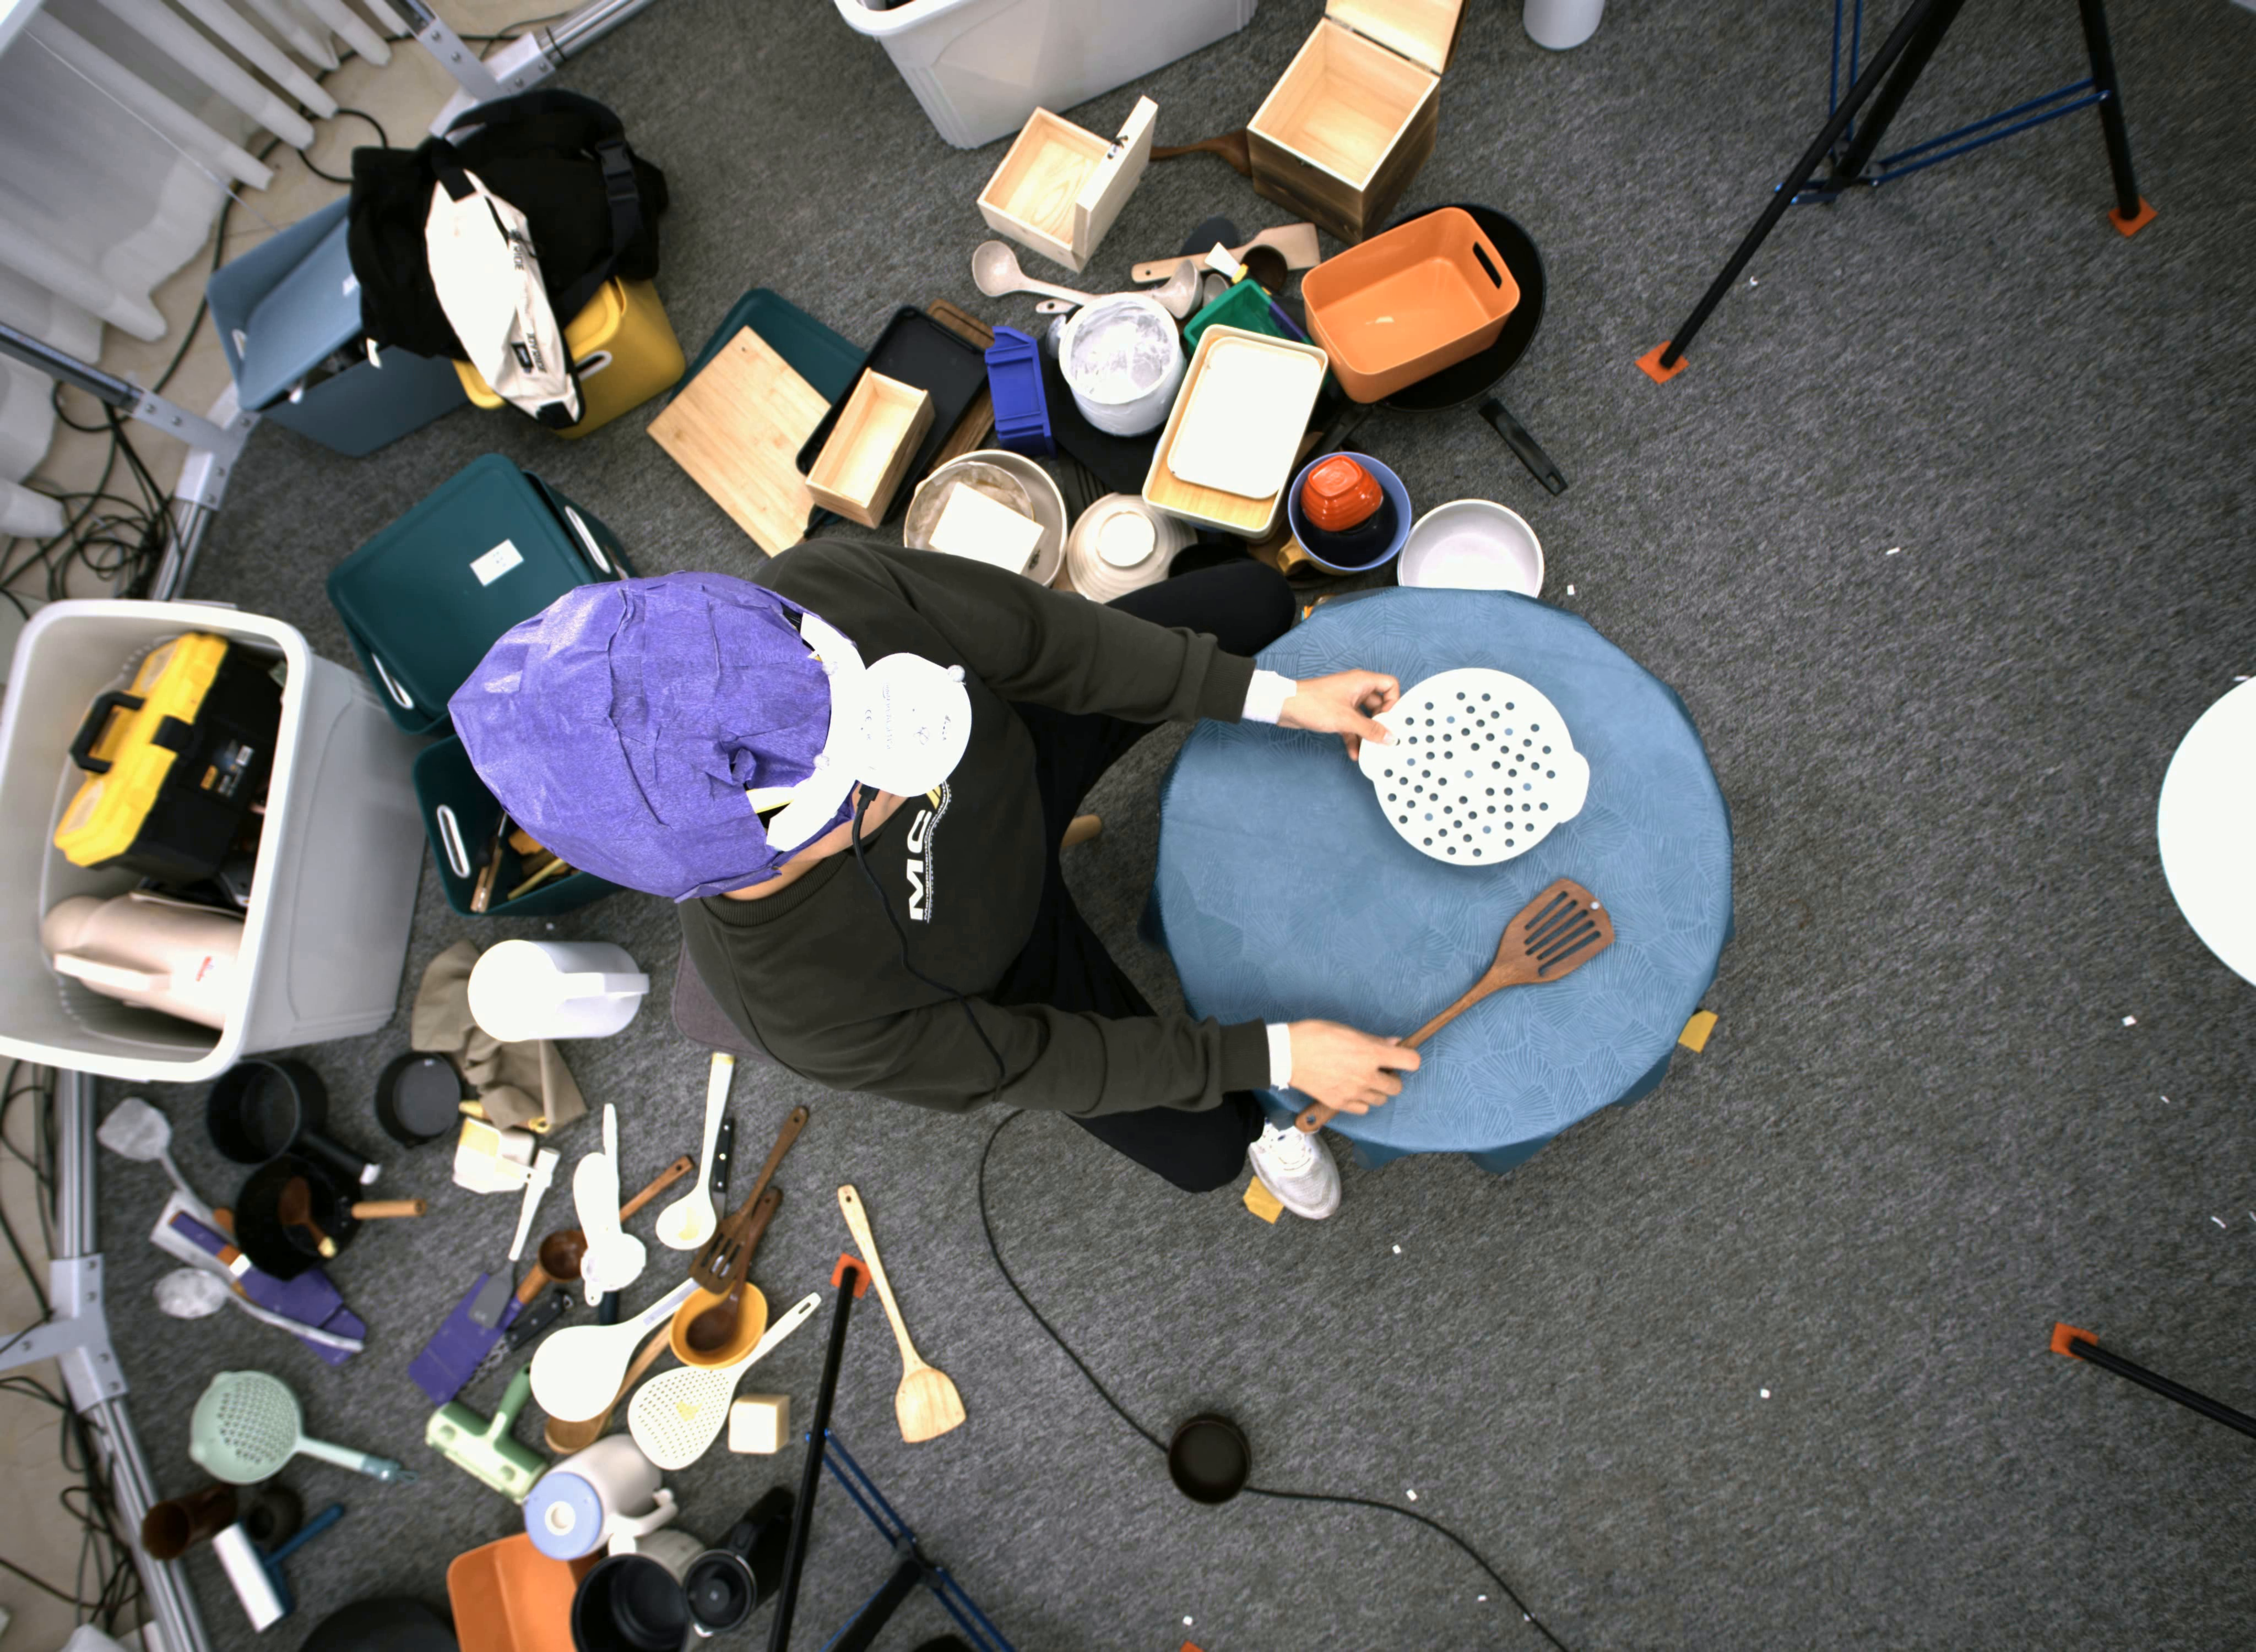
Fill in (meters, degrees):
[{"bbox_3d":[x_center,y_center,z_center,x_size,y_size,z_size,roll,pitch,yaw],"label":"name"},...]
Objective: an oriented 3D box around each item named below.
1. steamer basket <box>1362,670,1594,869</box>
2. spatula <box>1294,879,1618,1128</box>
[{"bbox_3d":[0.359,-0.058,1.419,0.231,0.069,0.201,13,87,14],"label":"steamer basket"},{"bbox_3d":[0.330,0.192,1.420,0.386,0.024,0.085,-36,80,1],"label":"spatula"}]
